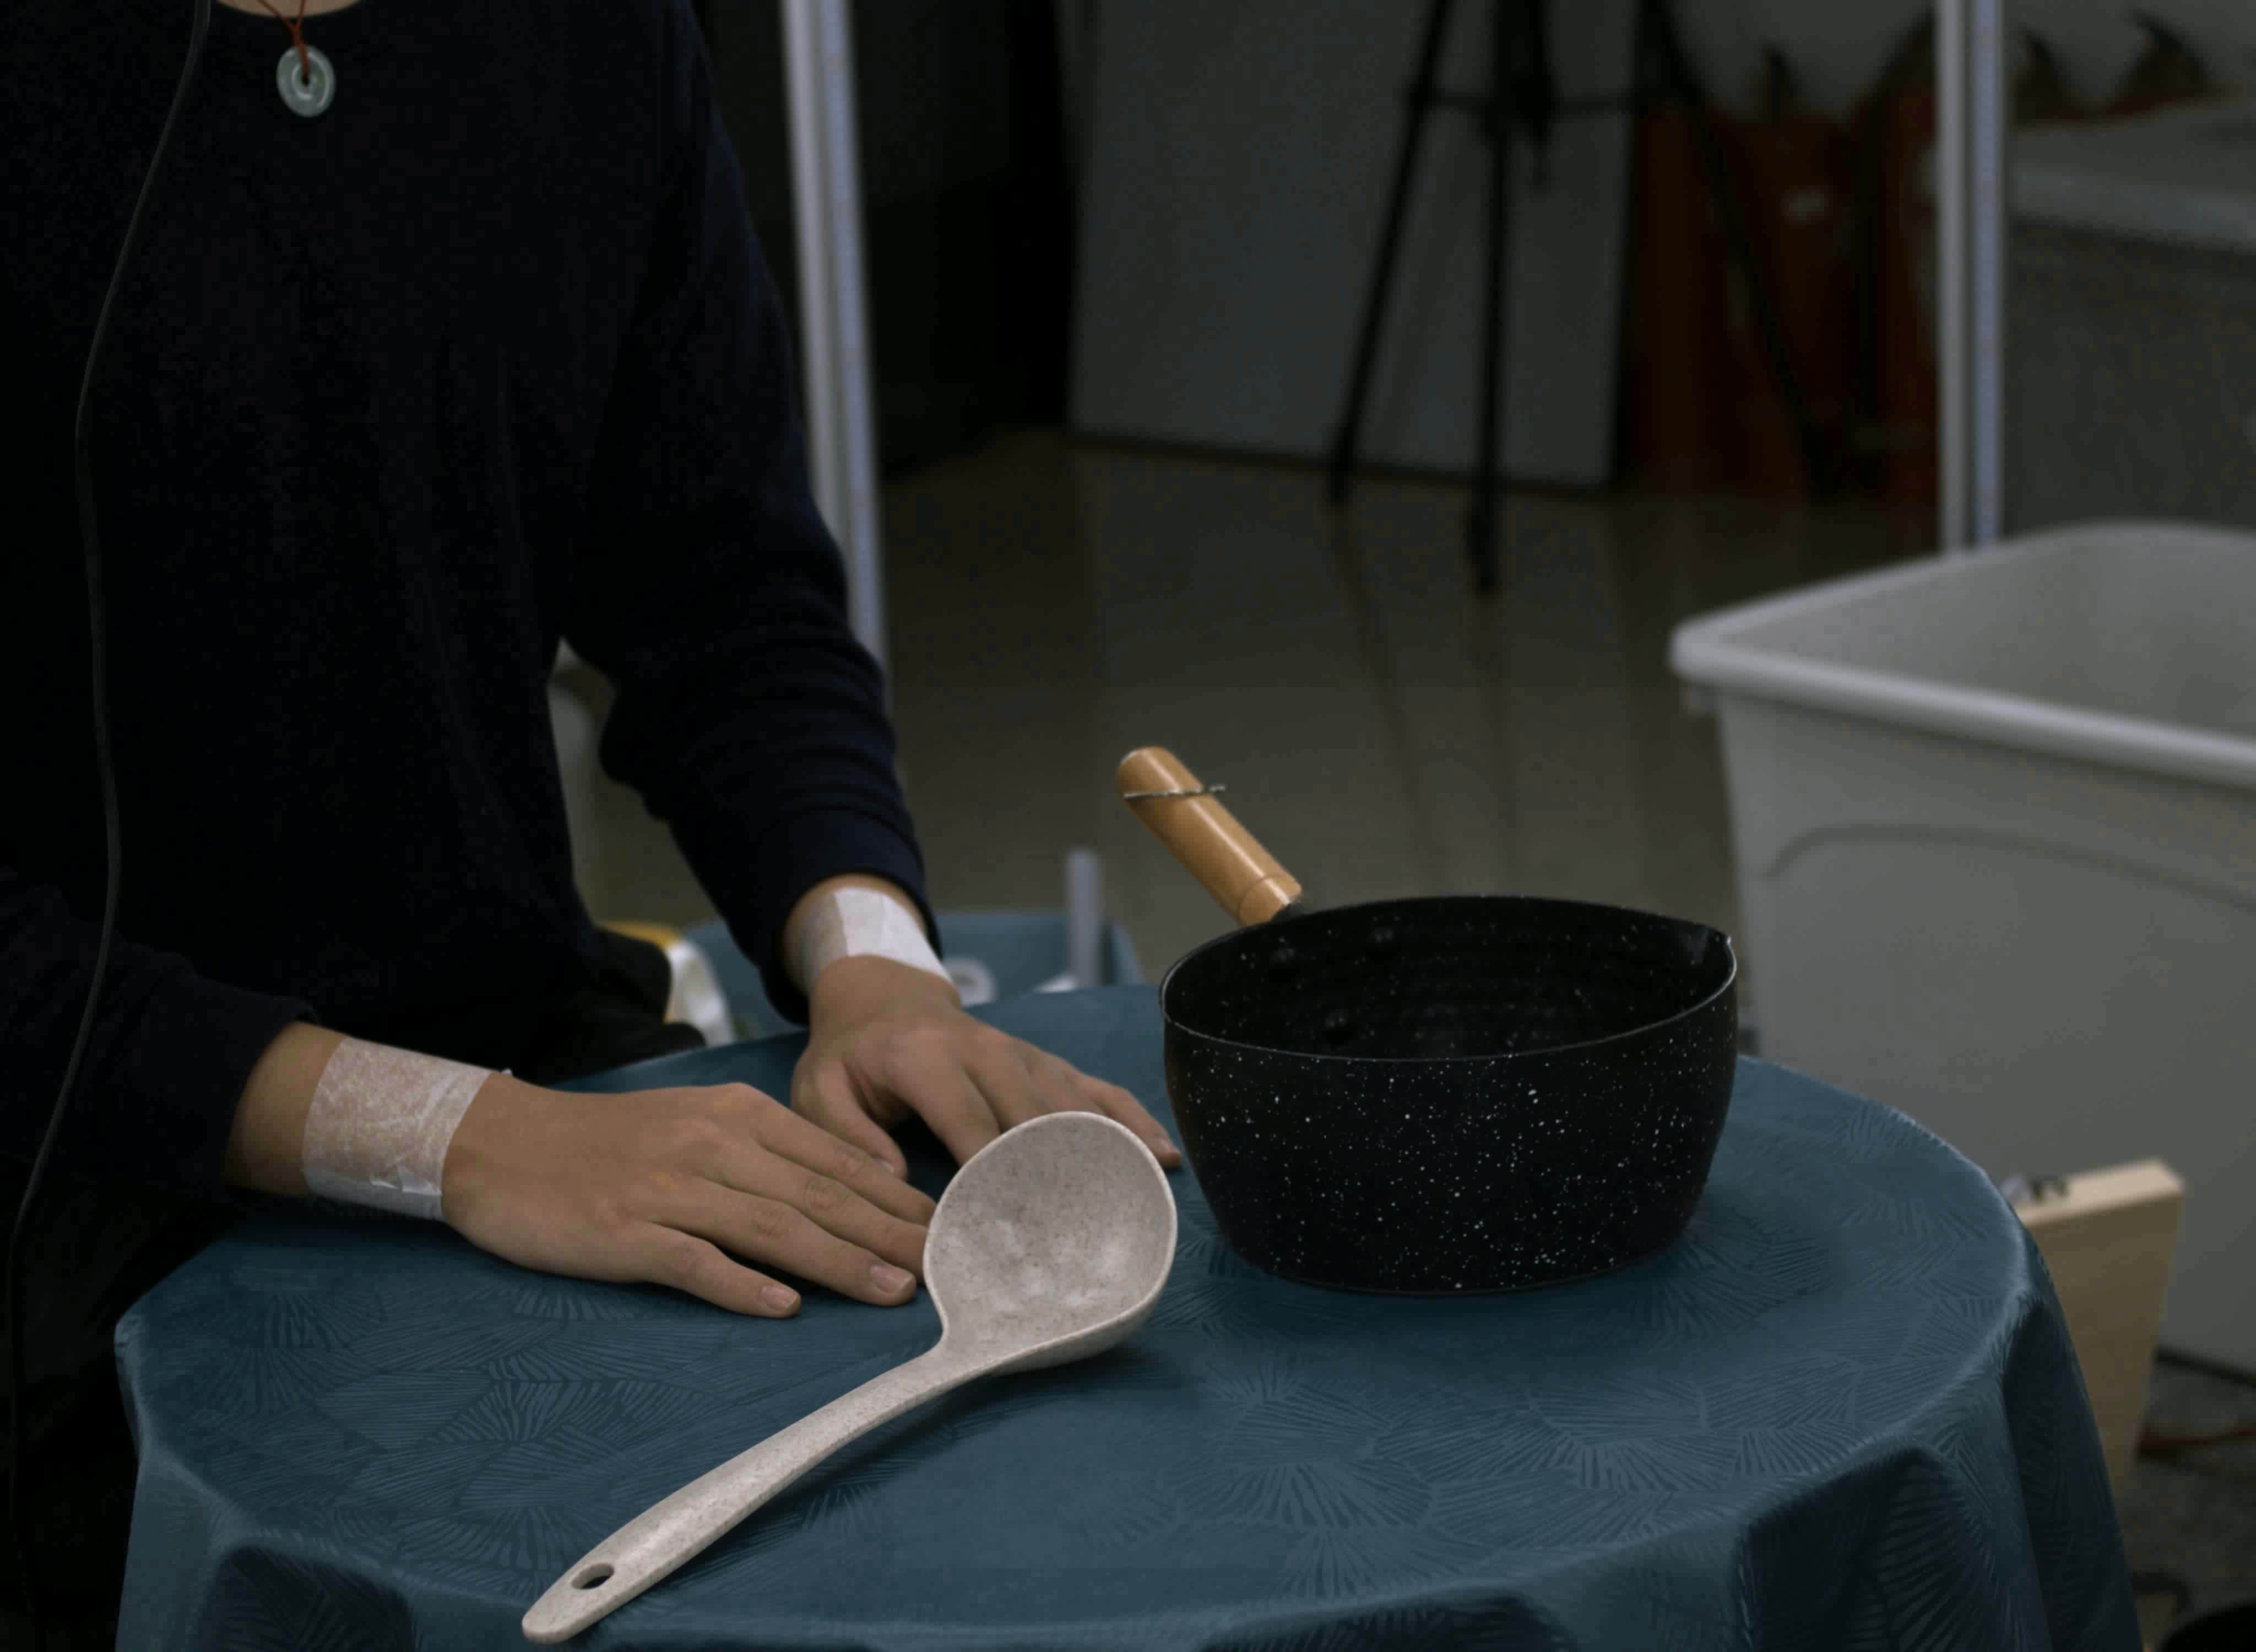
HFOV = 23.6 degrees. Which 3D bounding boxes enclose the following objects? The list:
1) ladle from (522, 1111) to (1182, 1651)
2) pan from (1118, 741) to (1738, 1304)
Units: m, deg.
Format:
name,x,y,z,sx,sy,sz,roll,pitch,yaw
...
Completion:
name,x,y,z,sx,sy,sz,roll,pitch,yaw
ladle,-0.082,0.152,1.532,0.090,0.070,0.270,12,21,32
pan,0.071,0.059,1.776,0.203,0.109,0.346,-11,16,-21
